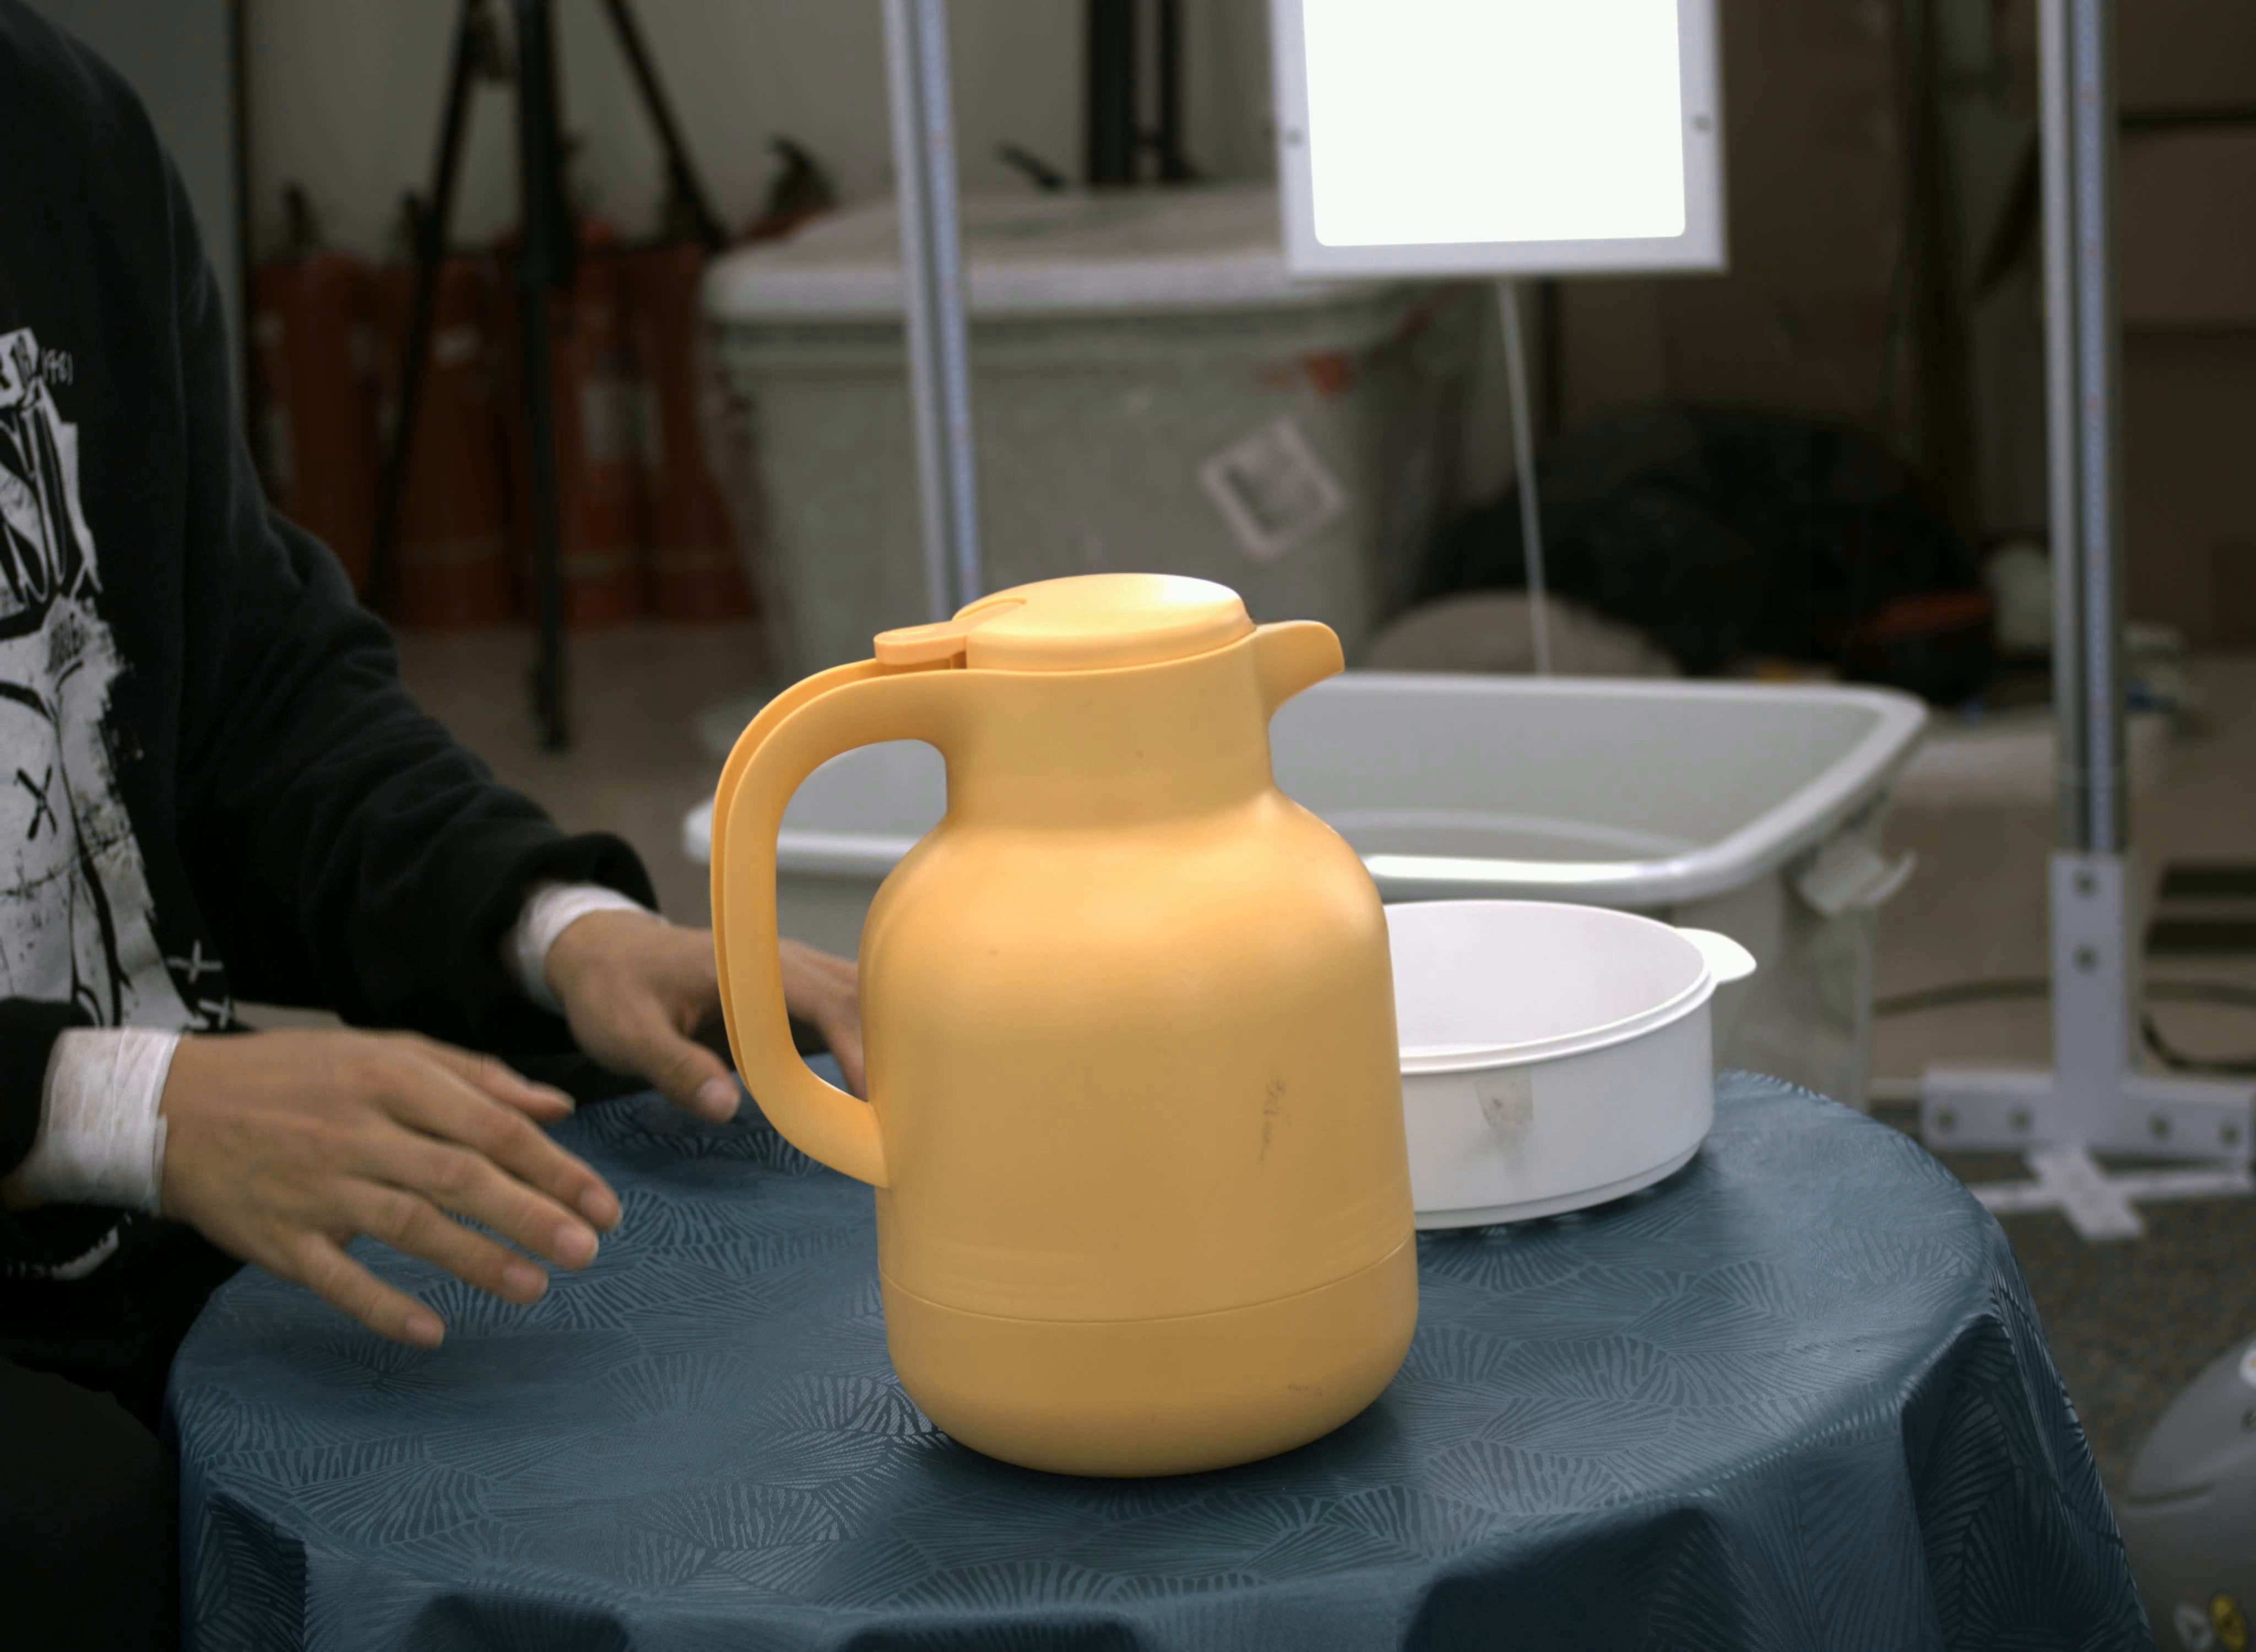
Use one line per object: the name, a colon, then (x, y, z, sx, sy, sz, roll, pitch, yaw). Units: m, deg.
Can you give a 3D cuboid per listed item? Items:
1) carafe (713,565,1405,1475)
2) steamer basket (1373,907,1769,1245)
carafe: (-0.021, 0.055, 1.645, 0.200, 0.261, 0.164, -5, 11, -8)
steamer basket: (0.110, 0.086, 1.898, 0.228, 0.069, 0.203, -8, 15, -8)
